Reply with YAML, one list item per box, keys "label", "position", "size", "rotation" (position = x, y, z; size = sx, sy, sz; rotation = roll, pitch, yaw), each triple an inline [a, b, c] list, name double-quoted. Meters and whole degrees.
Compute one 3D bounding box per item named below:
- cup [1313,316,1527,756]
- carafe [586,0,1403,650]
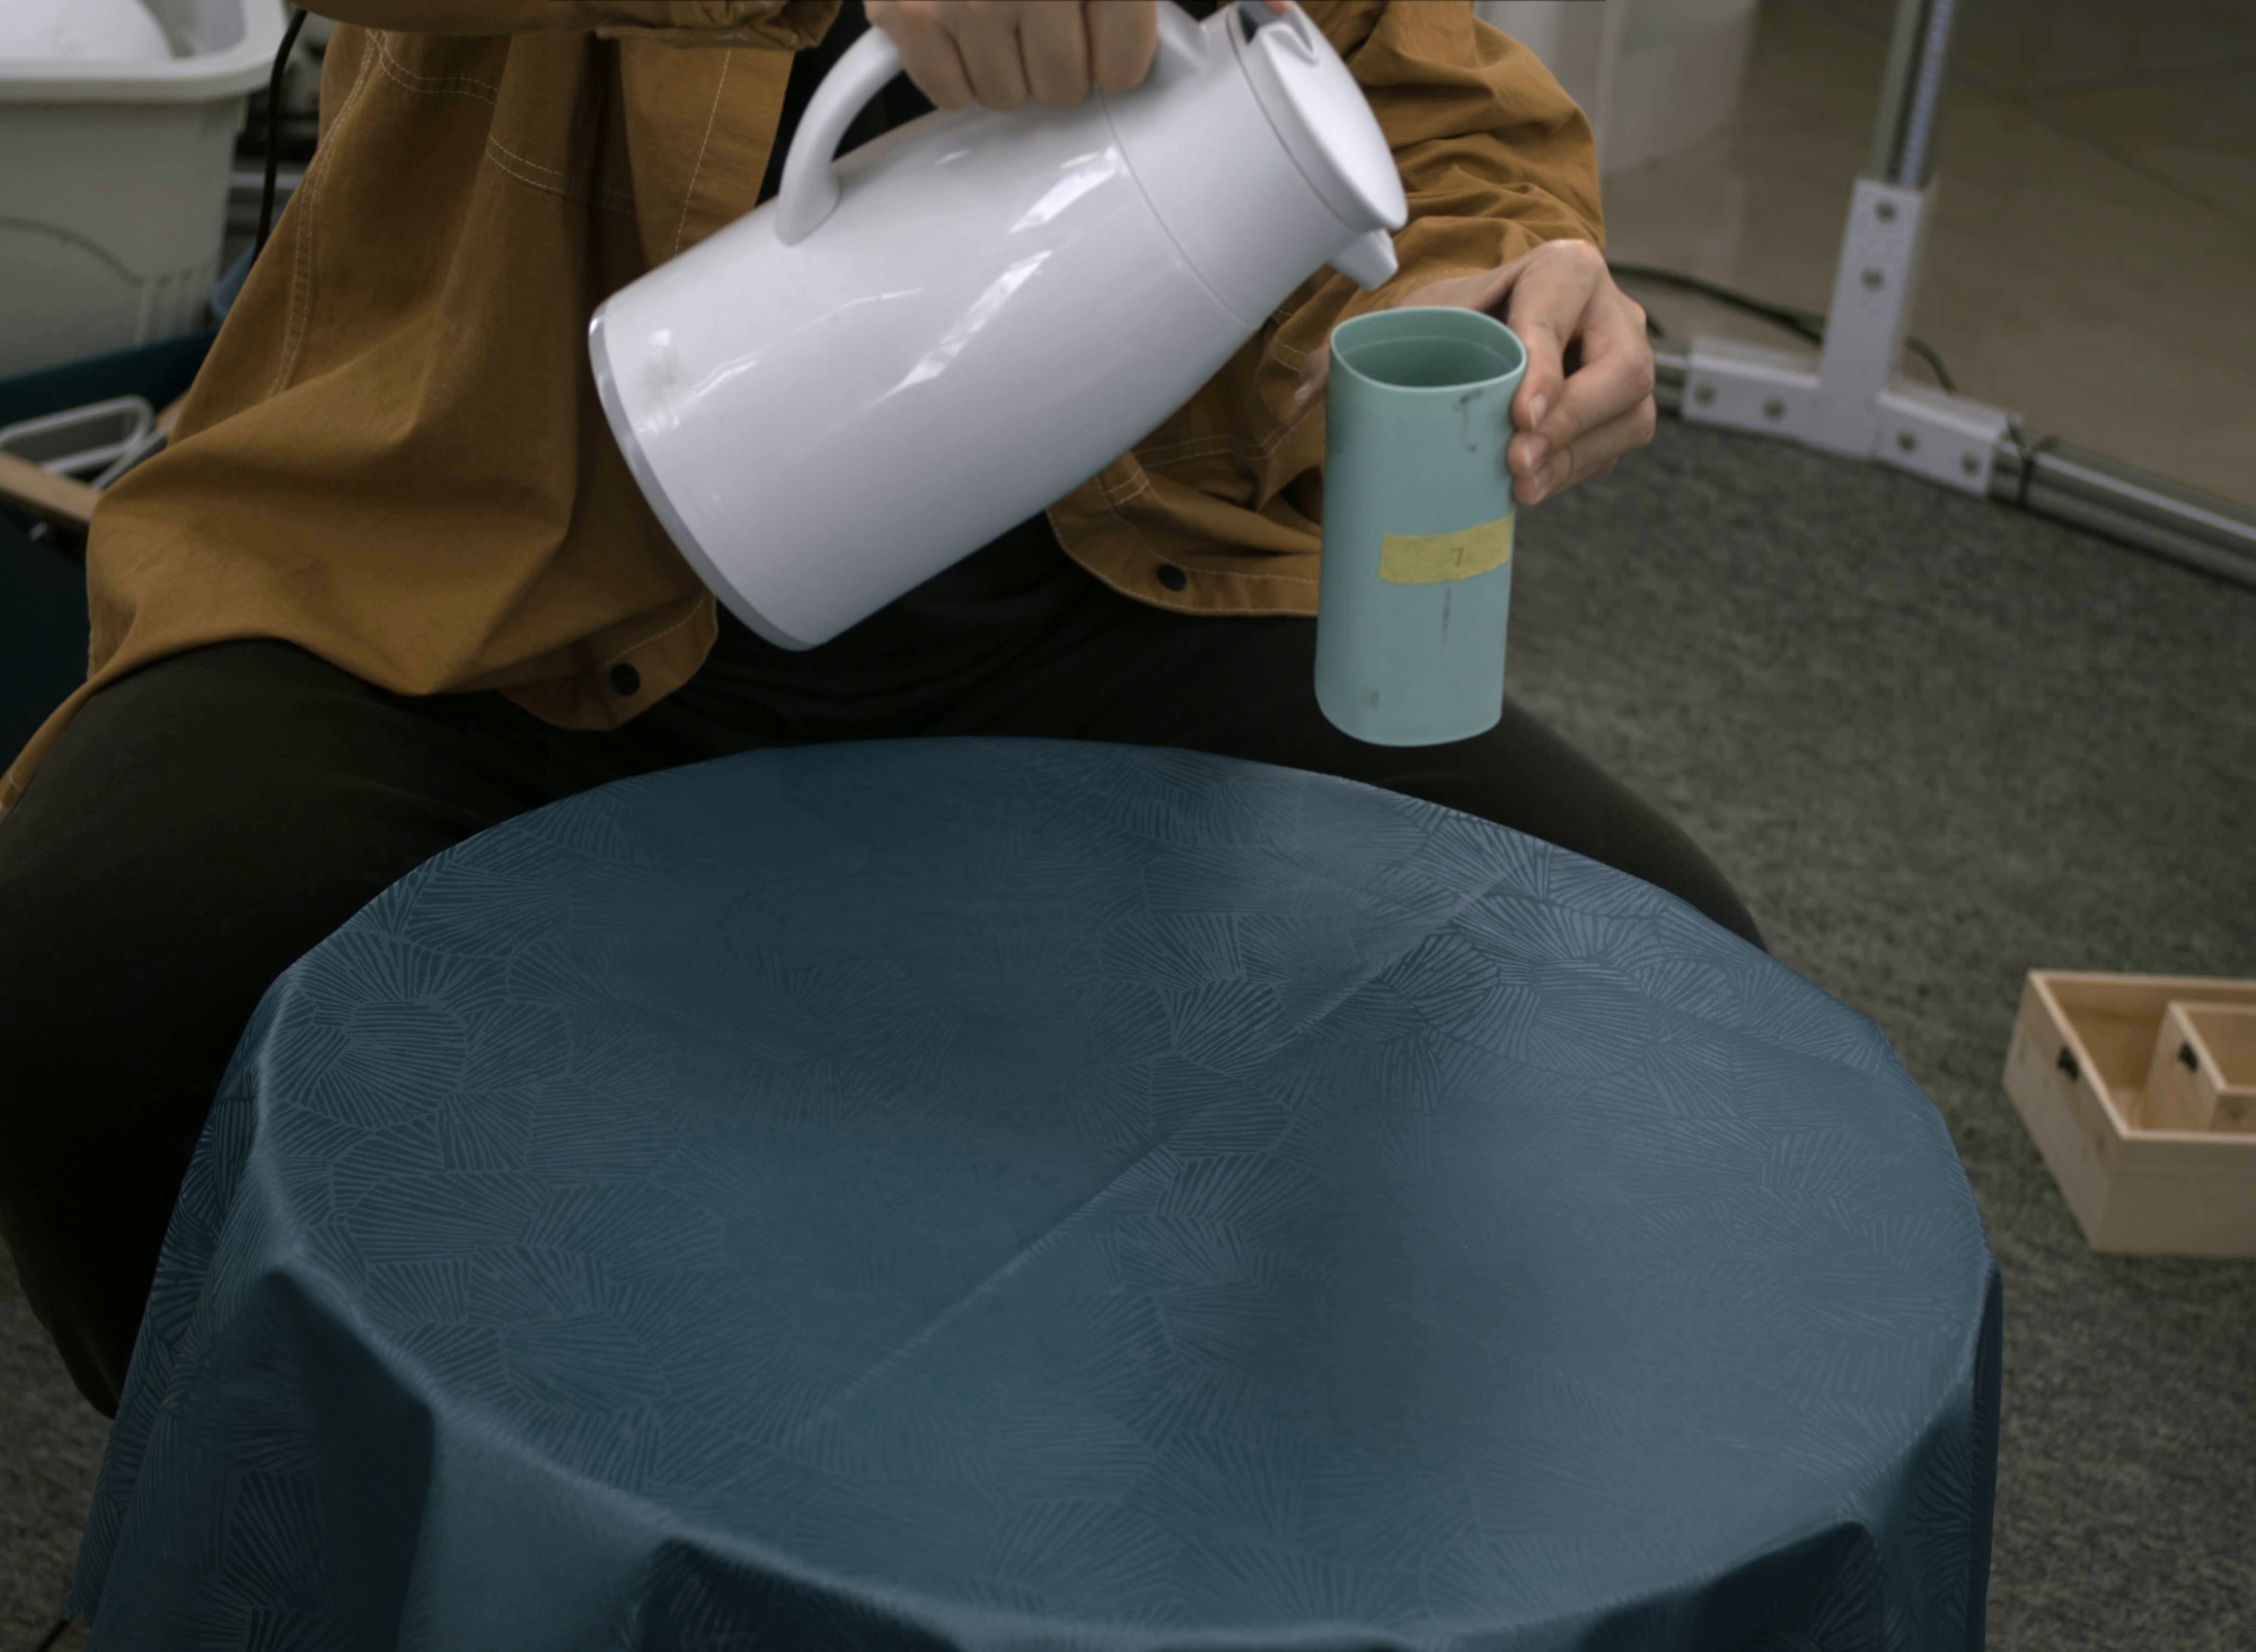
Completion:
- label: "cup"
  position: [0.094, -0.096, 1.746]
  size: [0.066, 0.132, 0.067]
  rotation: [1, 29, -1]
- label: "carafe"
  position: [-0.046, -0.184, 1.686]
  size: [0.248, 0.166, 0.133]
  rotation: [-30, 36, 17]
